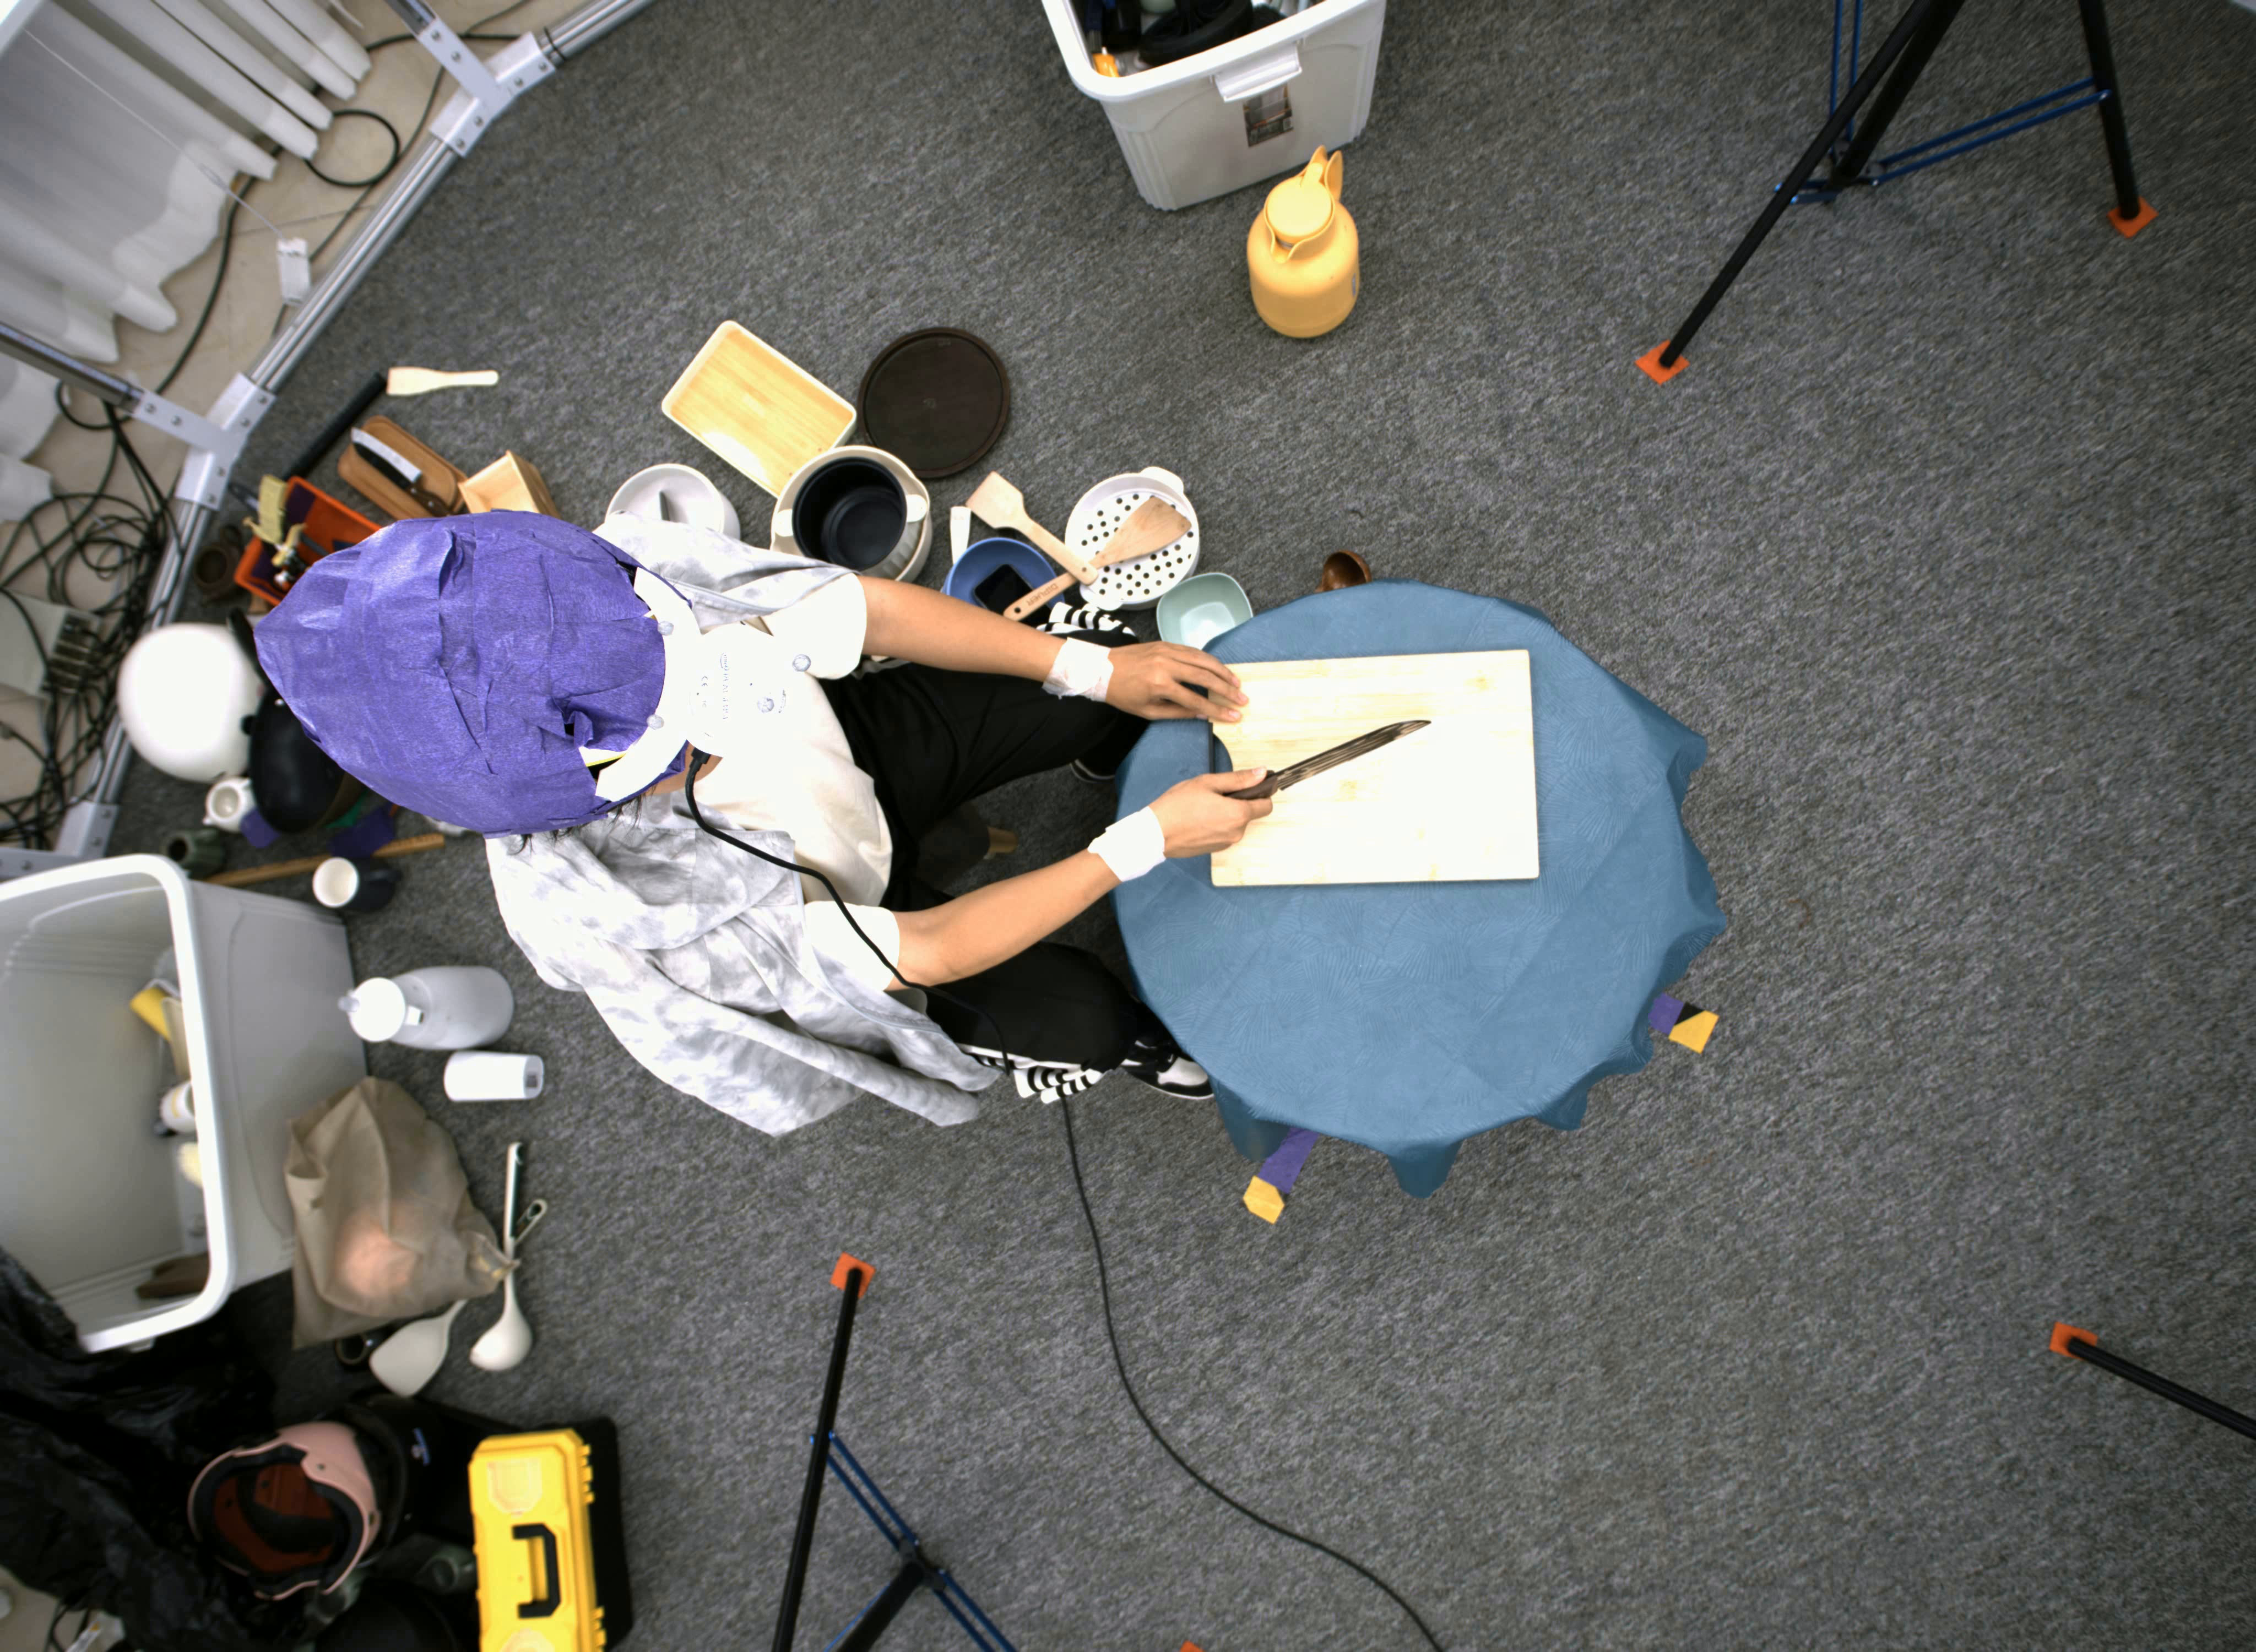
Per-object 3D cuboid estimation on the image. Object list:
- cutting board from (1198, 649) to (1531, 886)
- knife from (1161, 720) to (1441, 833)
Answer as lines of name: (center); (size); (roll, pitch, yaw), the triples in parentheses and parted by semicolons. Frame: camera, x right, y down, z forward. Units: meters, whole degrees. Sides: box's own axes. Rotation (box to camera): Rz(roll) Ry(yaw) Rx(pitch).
cutting board: (0.250, -0.062, 1.461); (0.350, 0.023, 0.249); (-3, 86, 11)
knife: (0.178, -0.052, 1.412); (0.301, 0.069, 0.023); (-23, 65, 9)
